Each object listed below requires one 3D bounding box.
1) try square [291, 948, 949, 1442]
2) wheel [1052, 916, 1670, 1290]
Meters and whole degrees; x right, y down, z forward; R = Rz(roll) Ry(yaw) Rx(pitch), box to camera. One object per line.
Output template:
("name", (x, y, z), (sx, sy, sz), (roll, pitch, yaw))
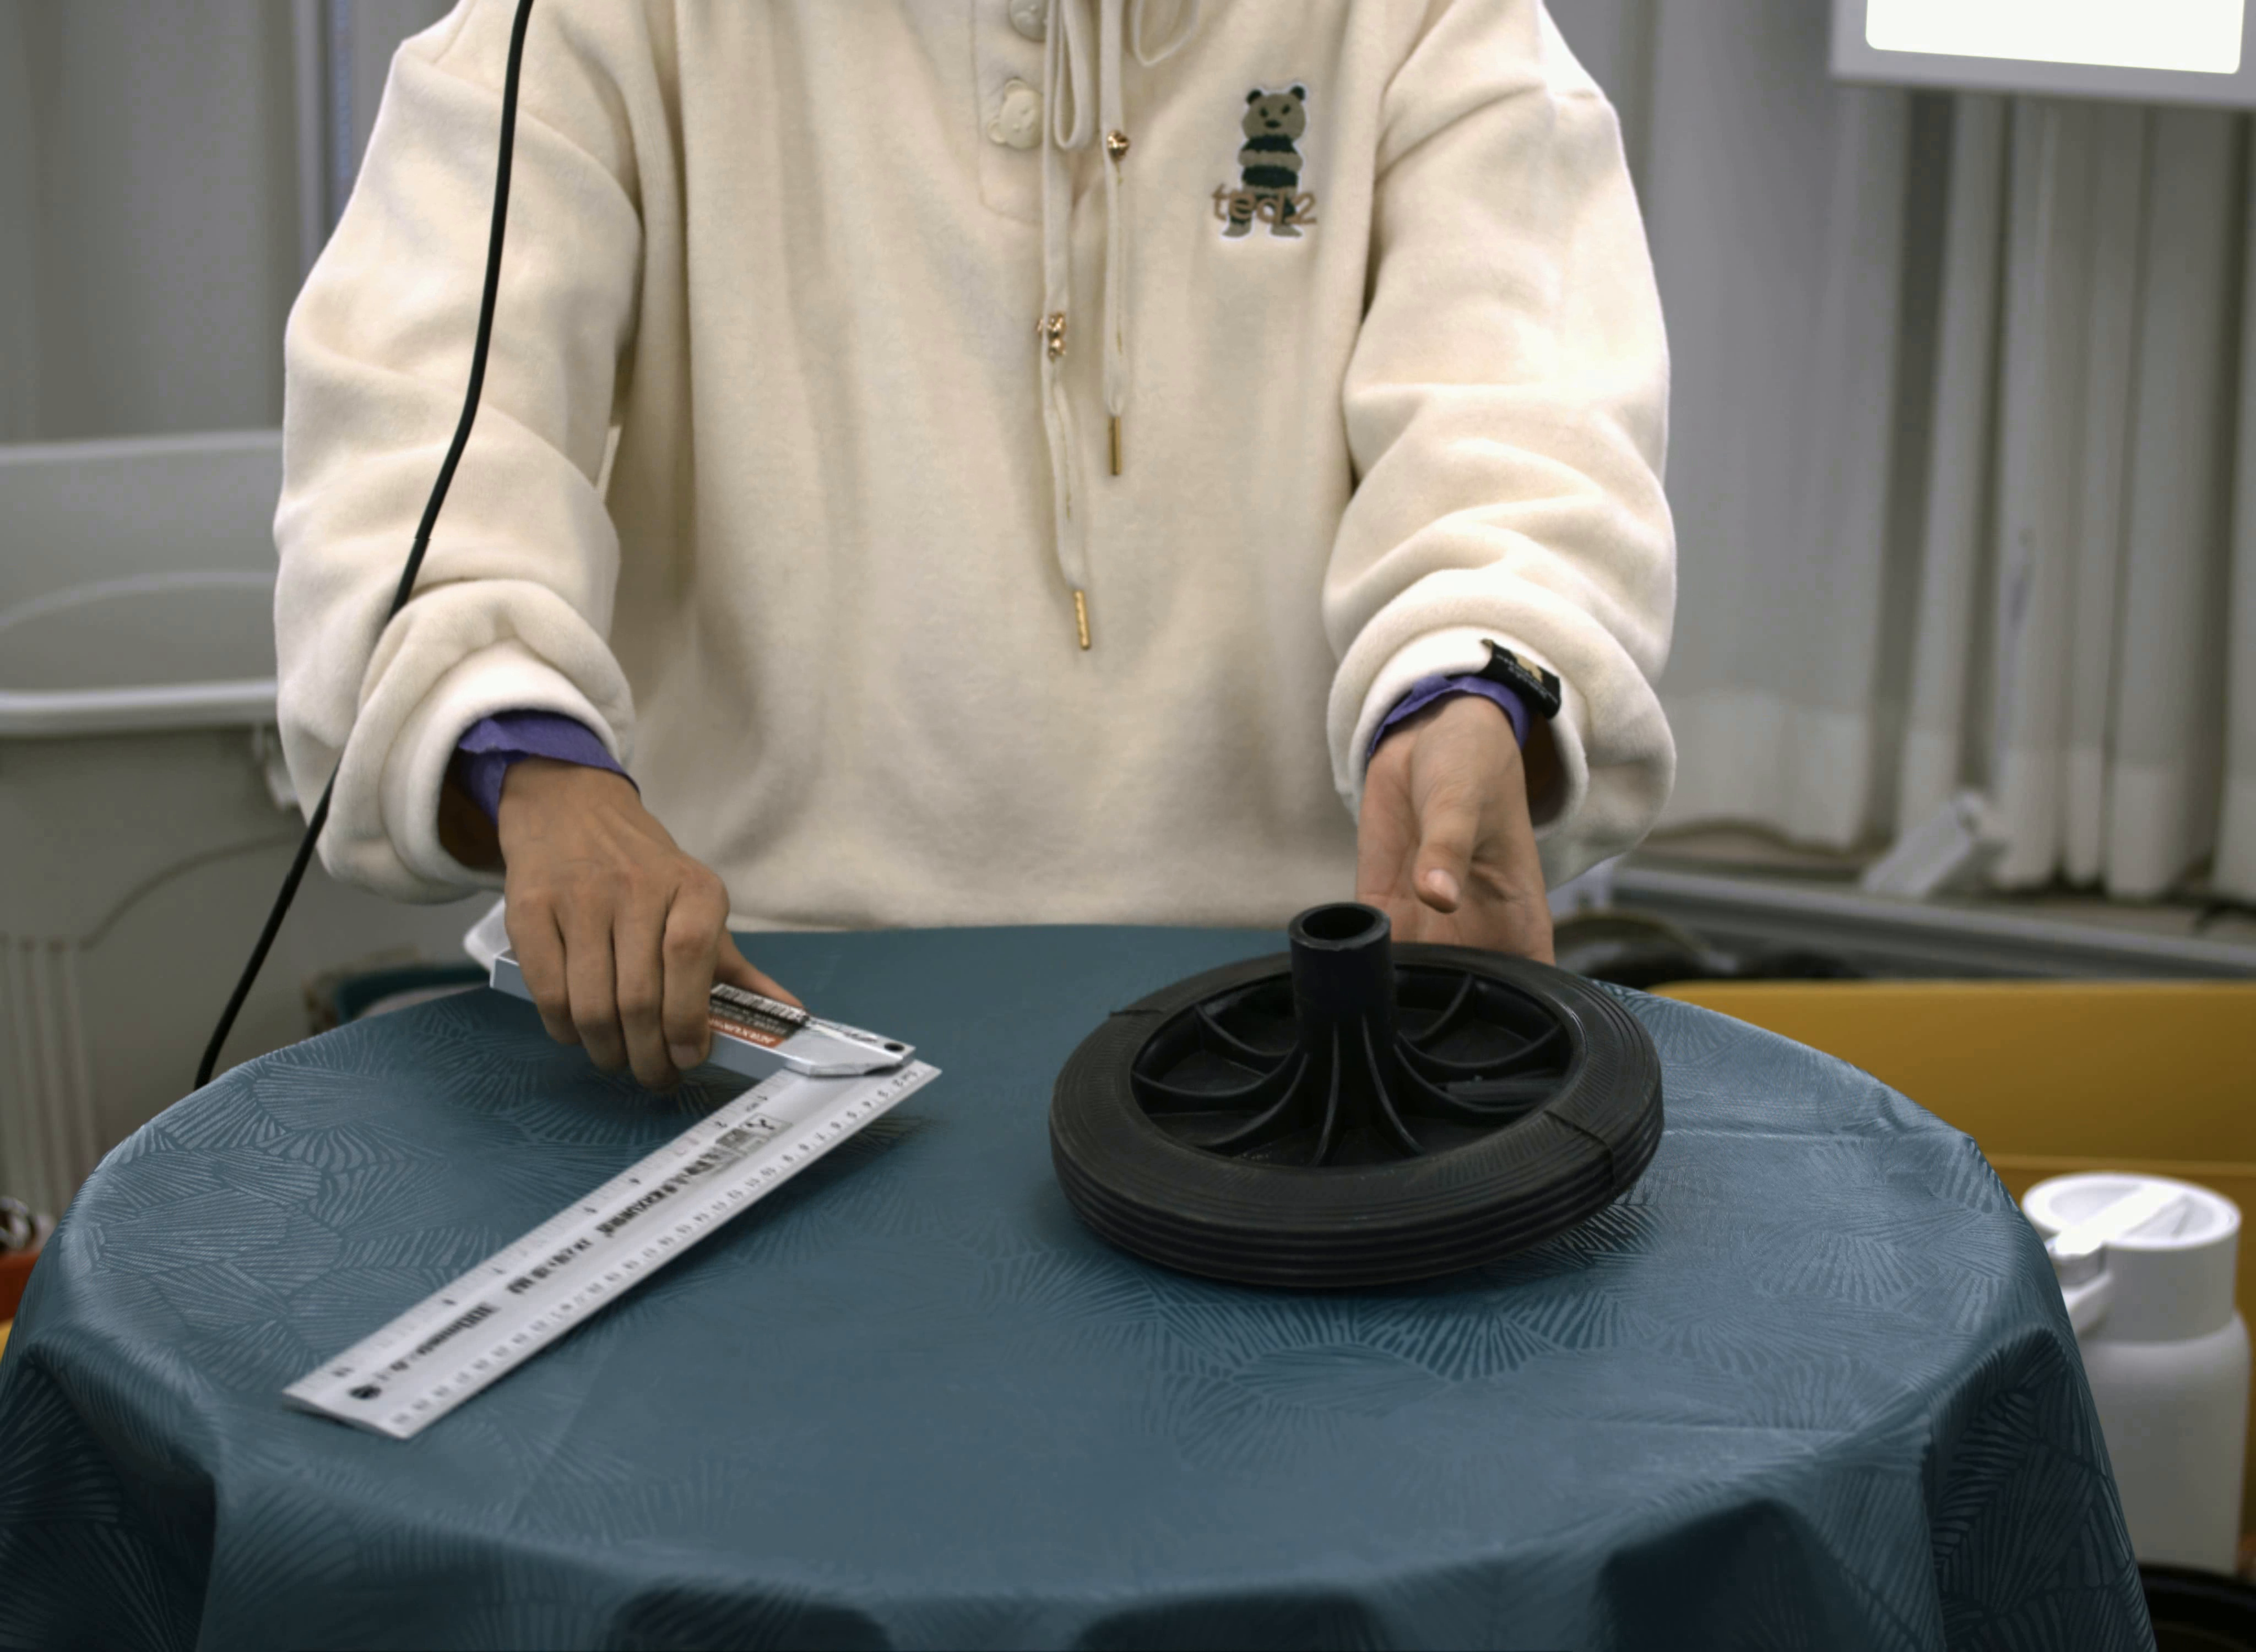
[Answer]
("try square", (-0.191, 0.105, 1.579), (0.150, 0.016, 0.313), (15, 22, 23))
("wheel", (0.069, 0.069, 1.601), (0.190, 0.080, 0.185), (-11, 25, -13))
